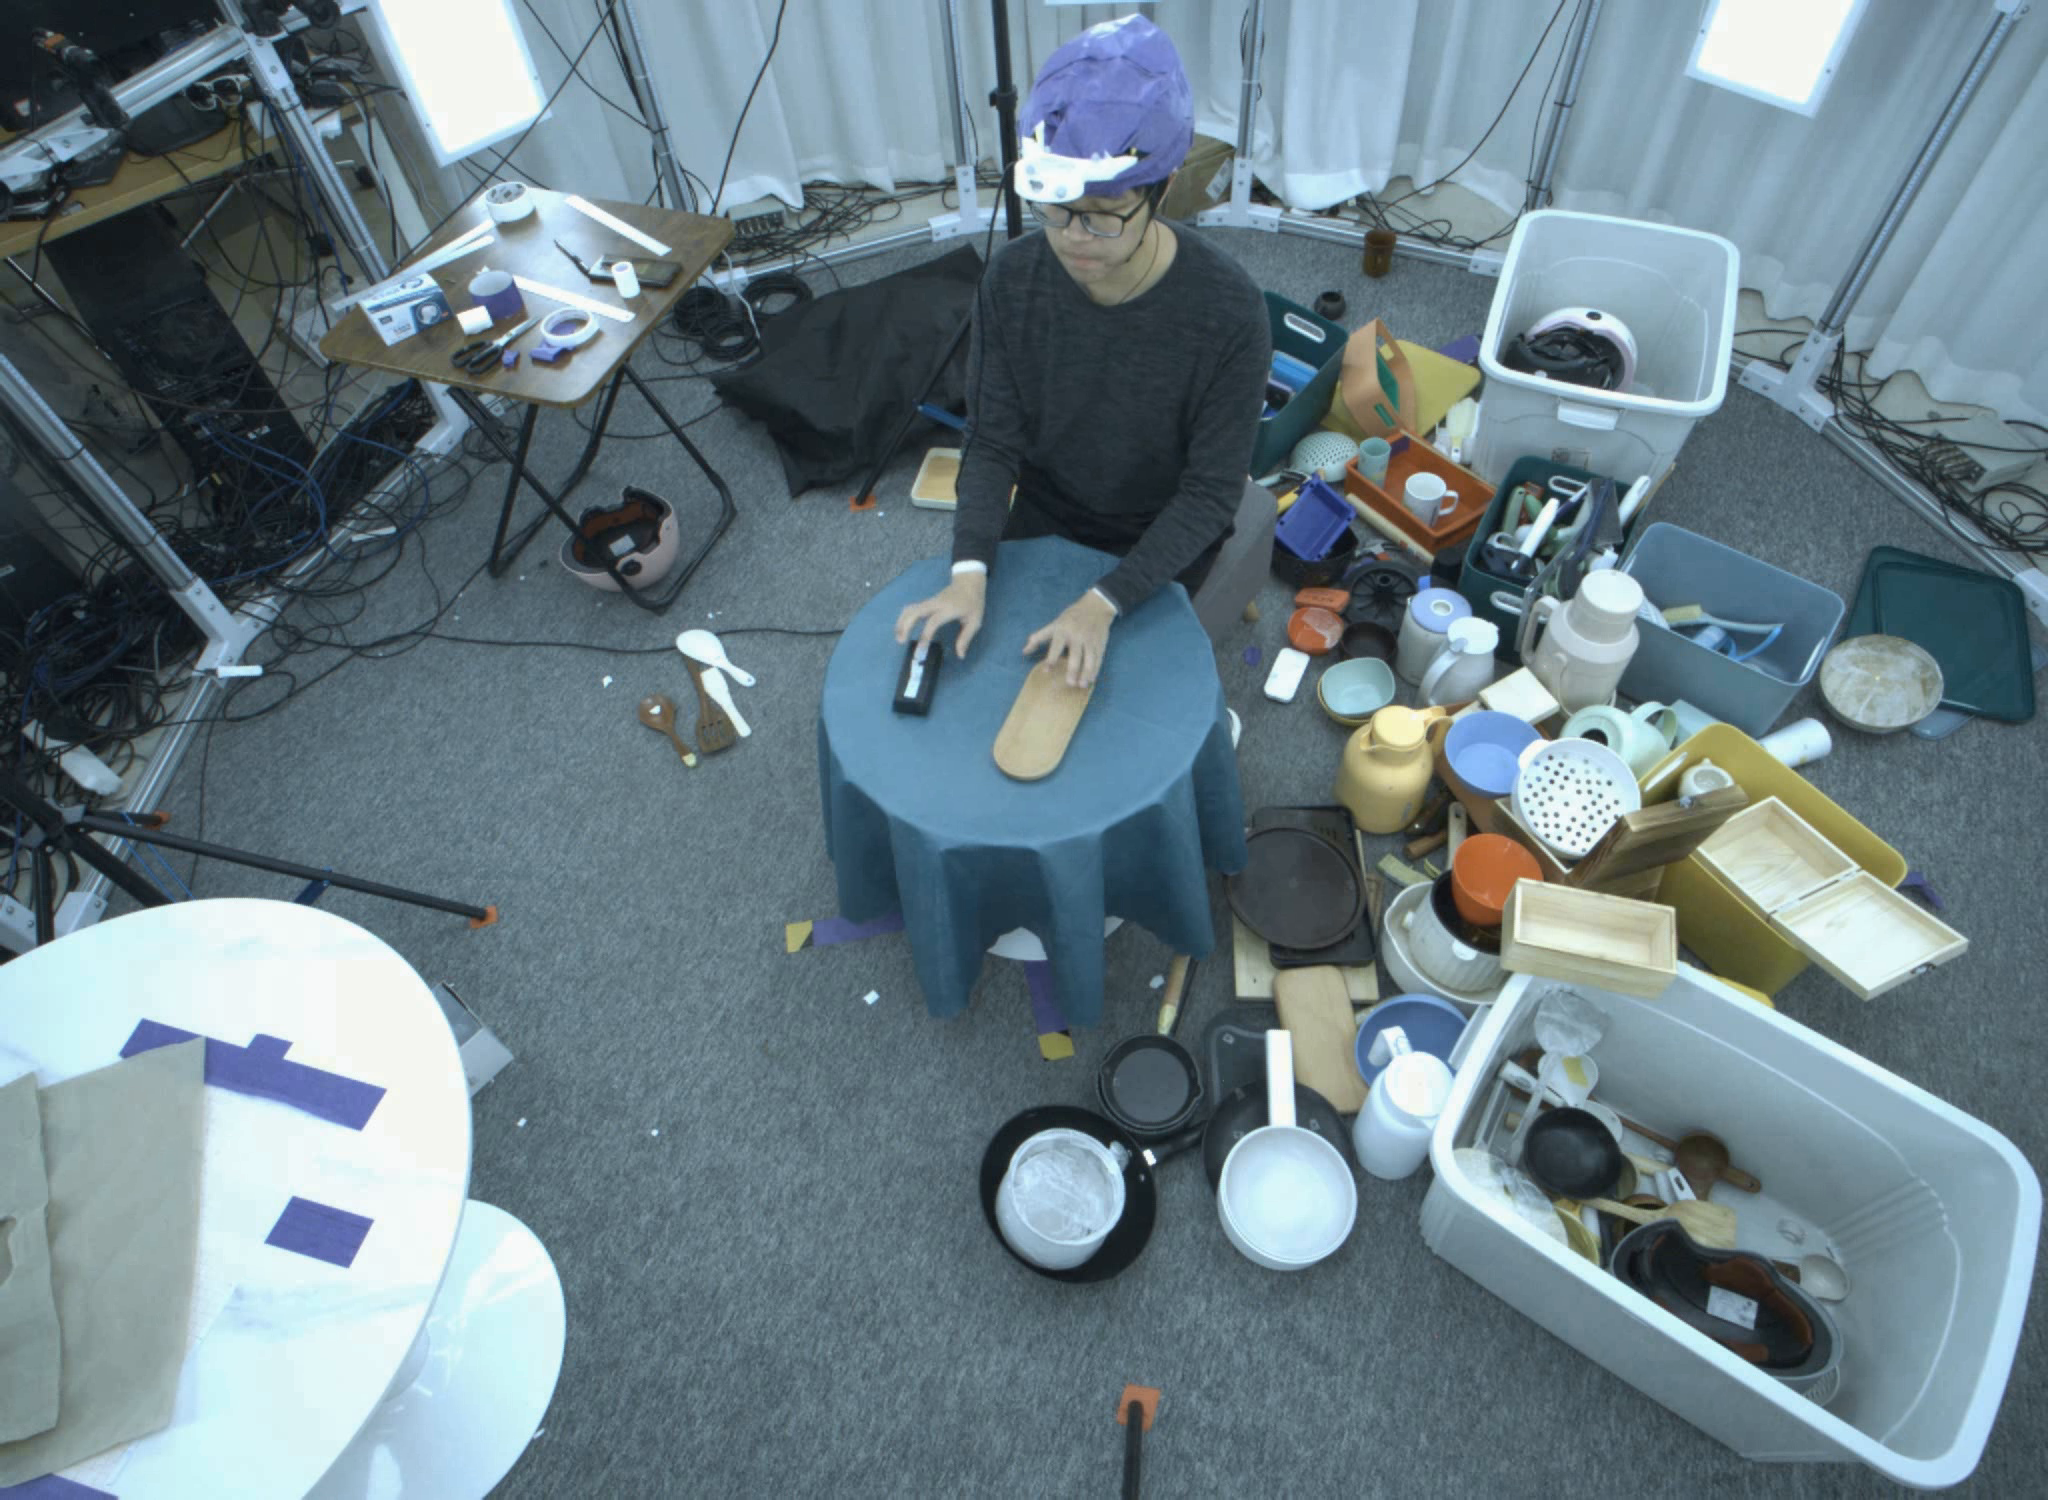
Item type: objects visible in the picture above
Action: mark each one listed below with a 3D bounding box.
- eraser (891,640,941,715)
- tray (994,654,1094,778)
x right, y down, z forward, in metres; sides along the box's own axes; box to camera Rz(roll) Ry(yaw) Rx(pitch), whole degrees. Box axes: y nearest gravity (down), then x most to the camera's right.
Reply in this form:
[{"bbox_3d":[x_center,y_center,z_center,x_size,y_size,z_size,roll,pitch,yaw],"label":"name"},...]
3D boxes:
[{"bbox_3d":[-0.162,-0.110,1.854,0.053,0.031,0.124,6,54,4],"label":"eraser"},{"bbox_3d":[0.031,-0.052,1.814,0.101,0.020,0.231,17,56,12],"label":"tray"}]
